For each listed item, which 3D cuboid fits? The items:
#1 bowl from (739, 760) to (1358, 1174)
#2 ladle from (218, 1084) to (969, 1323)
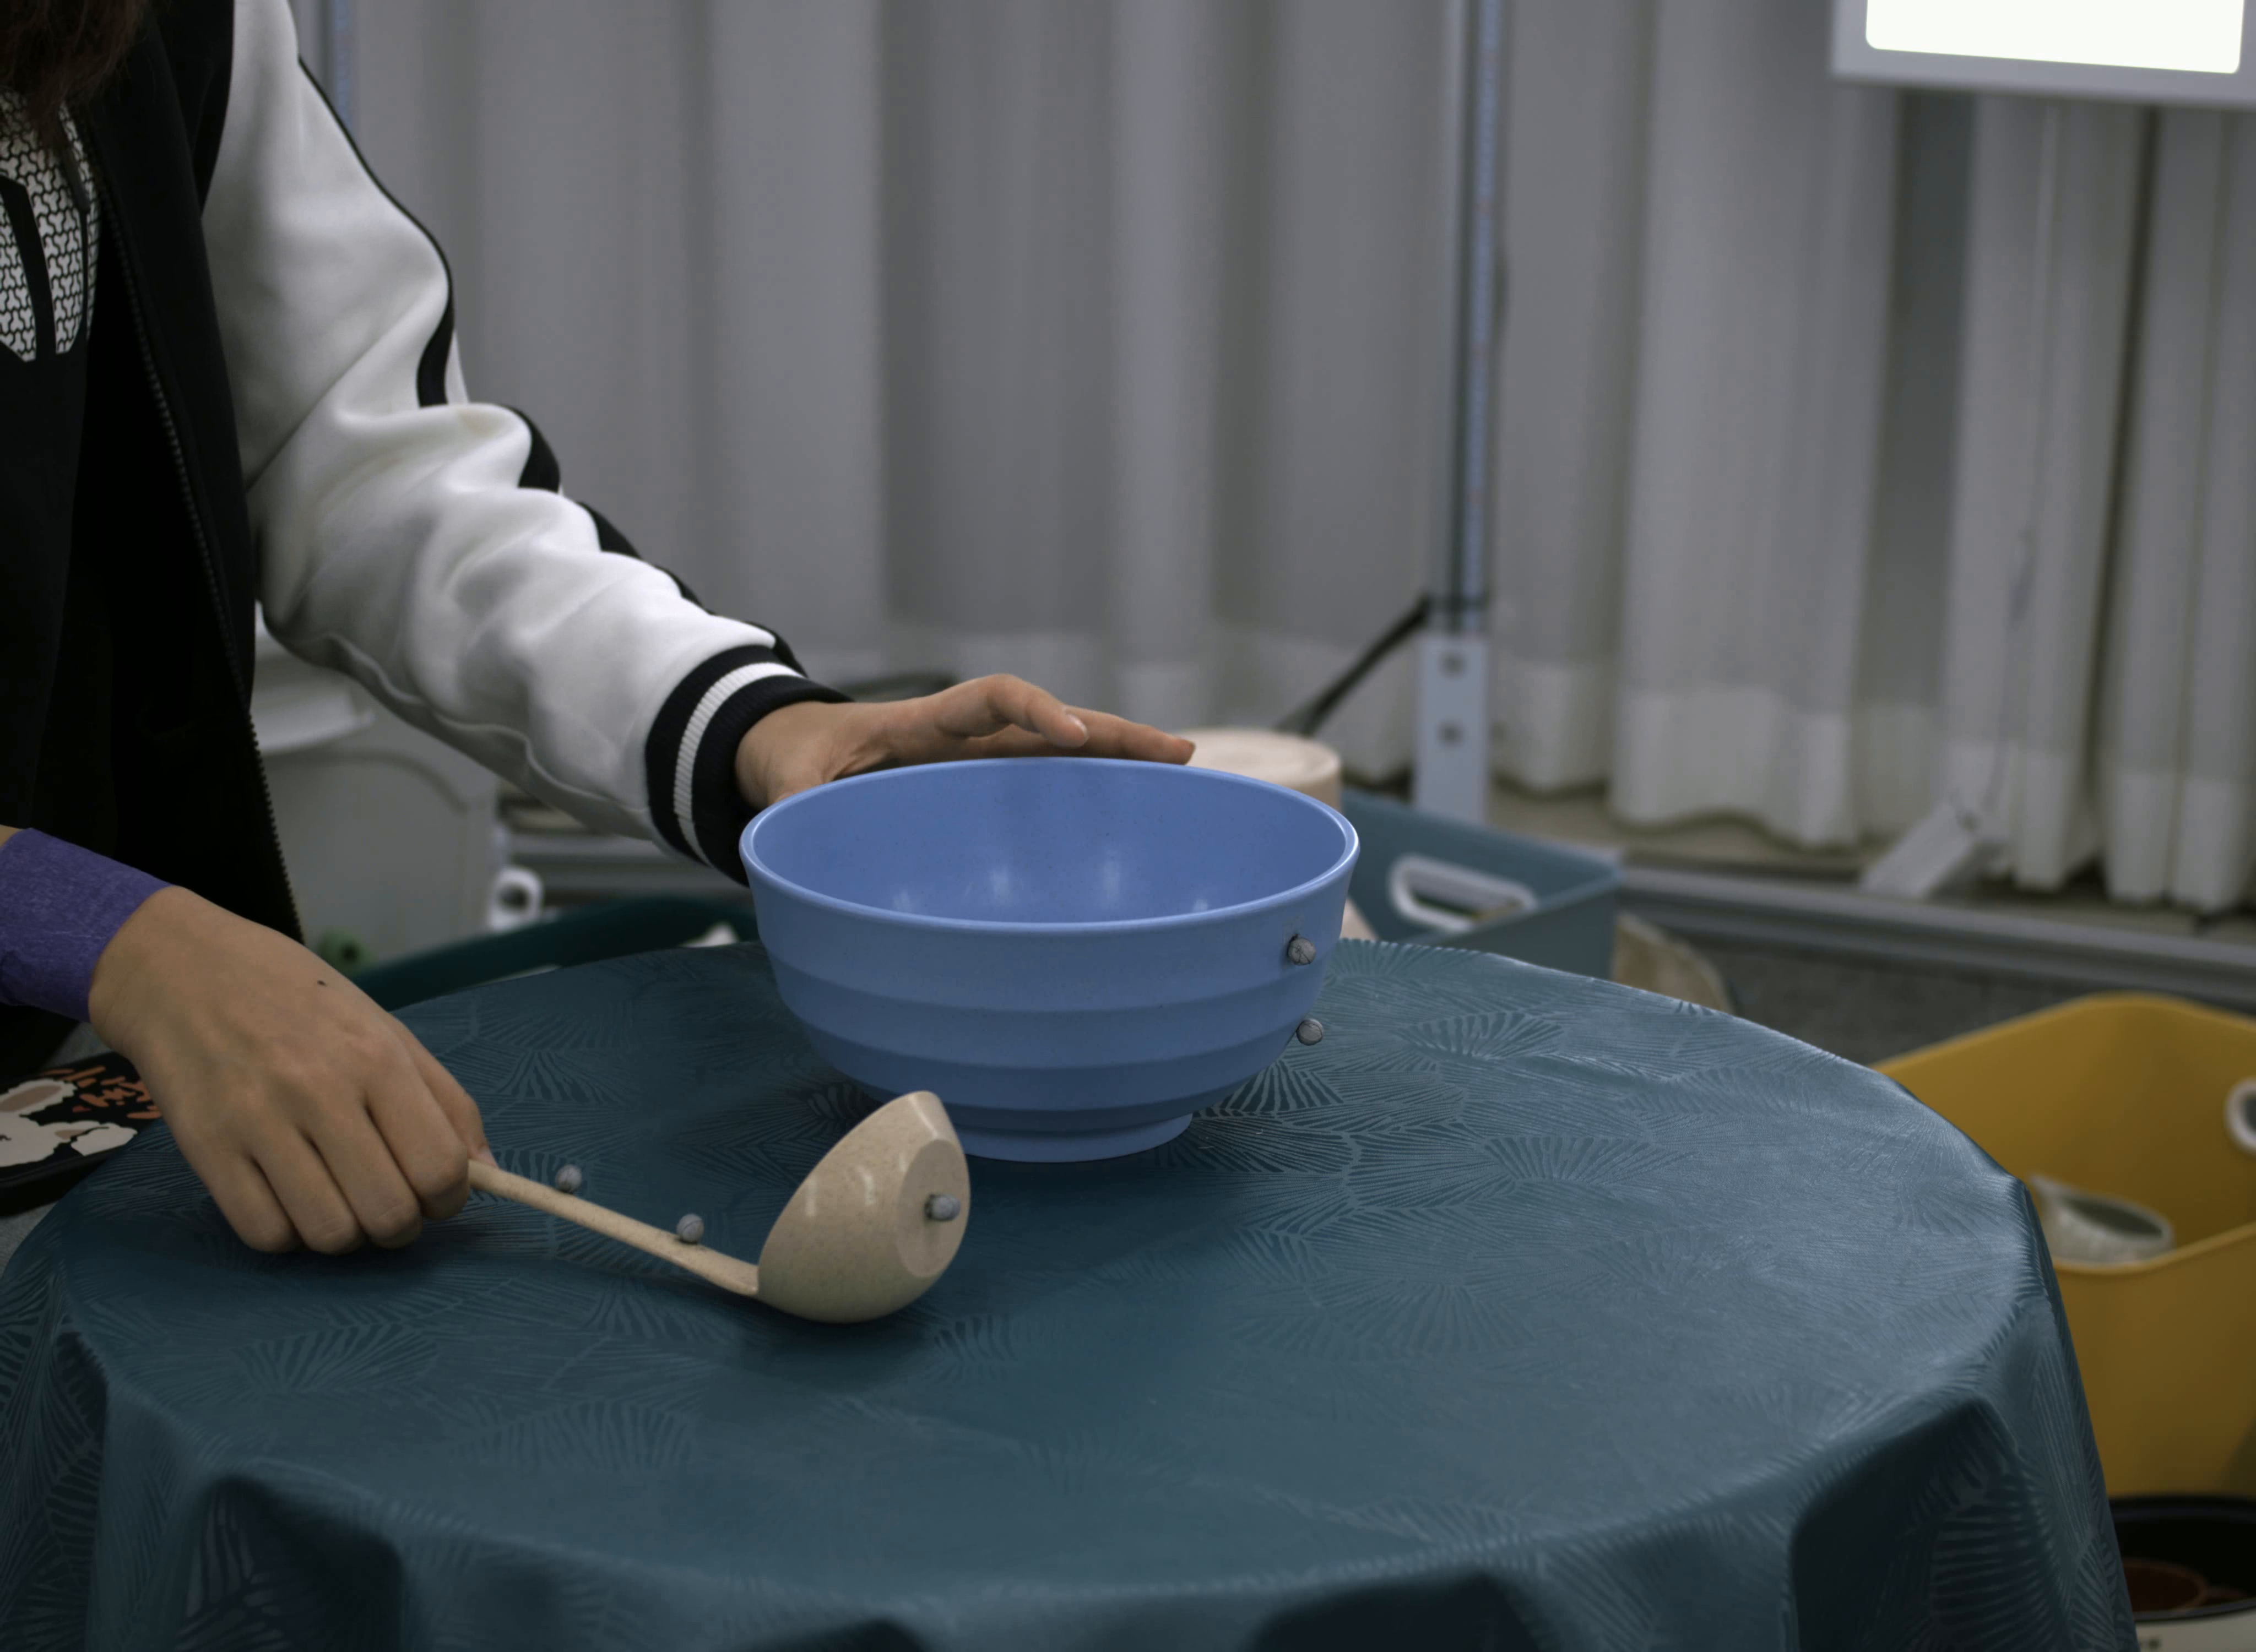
[{"bbox_3d":[-0.024,0.051,1.676,0.196,0.096,0.195,-1,17,1],"label":"bowl"},{"bbox_3d":[-0.163,0.088,1.547,0.251,0.073,0.072,12,12,27],"label":"ladle"}]
